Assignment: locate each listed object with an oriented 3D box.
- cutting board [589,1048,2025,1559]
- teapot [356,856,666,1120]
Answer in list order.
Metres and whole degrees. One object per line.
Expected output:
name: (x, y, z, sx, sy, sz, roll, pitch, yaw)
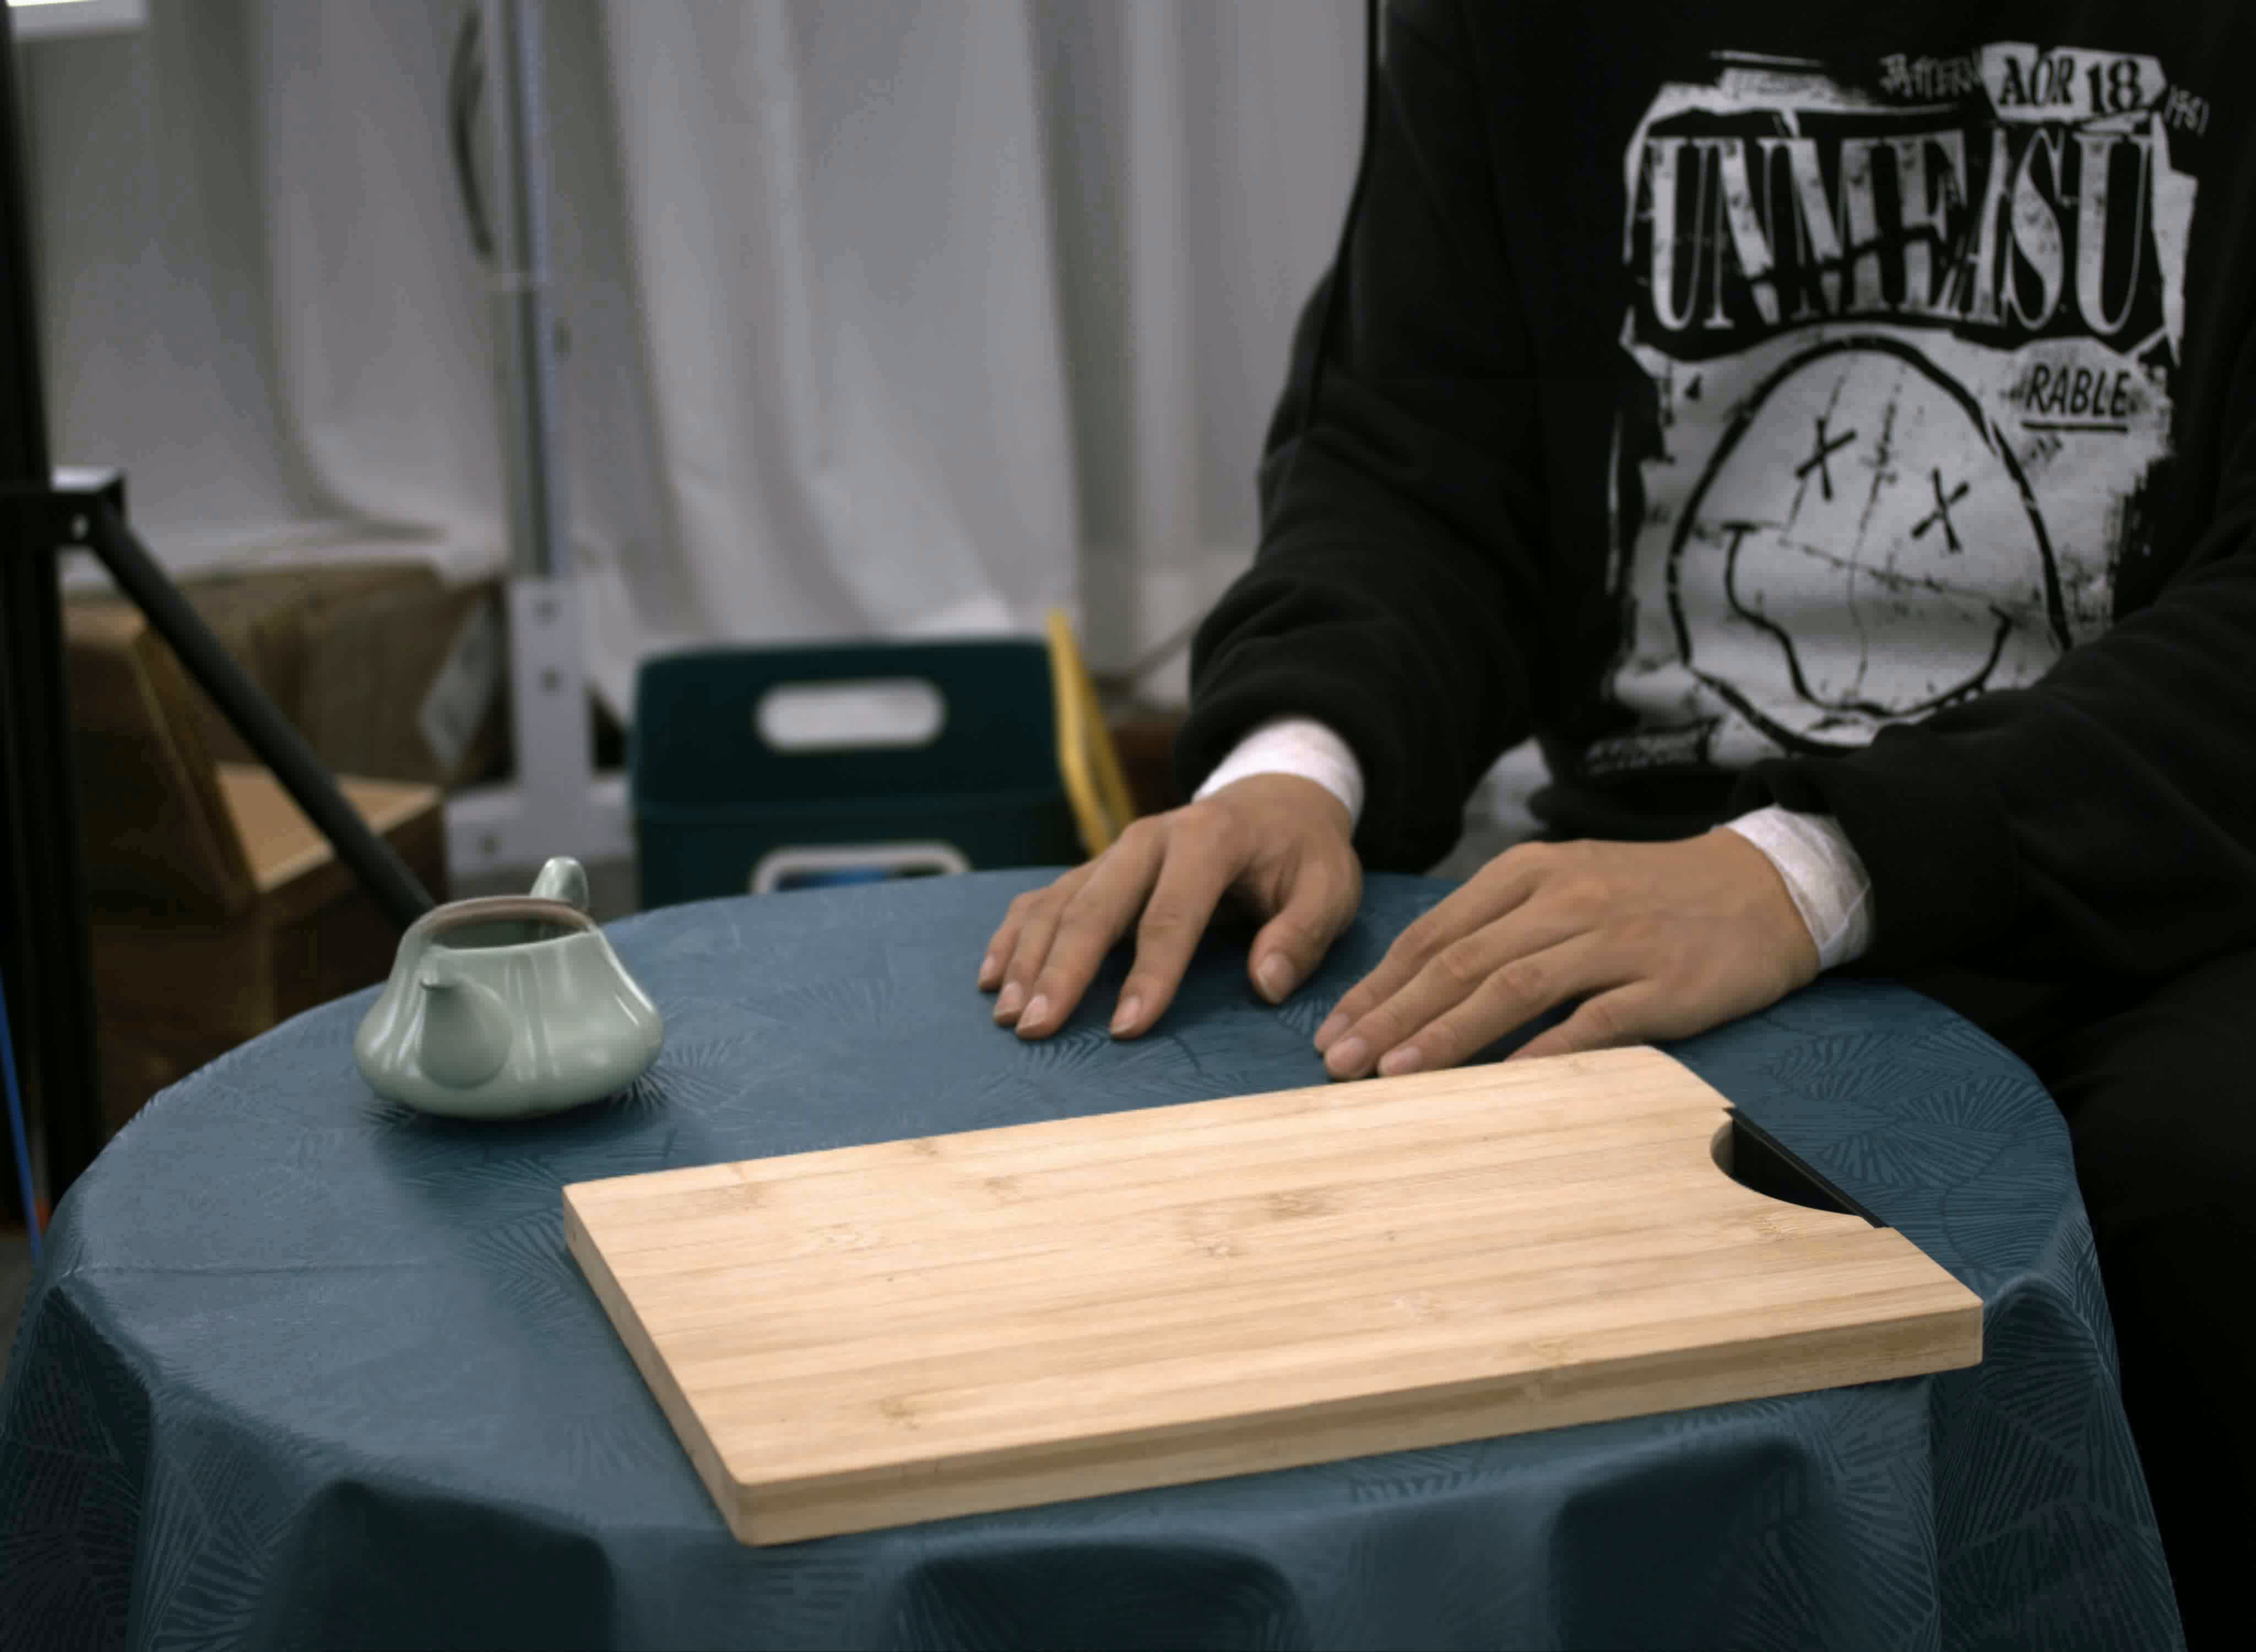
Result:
cutting board: (0.038, 0.124, 1.463, 0.343, 0.023, 0.254, -7, 16, -15)
teapot: (-0.192, 0.054, 1.668, 0.097, 0.061, 0.136, 0, 16, 12)
